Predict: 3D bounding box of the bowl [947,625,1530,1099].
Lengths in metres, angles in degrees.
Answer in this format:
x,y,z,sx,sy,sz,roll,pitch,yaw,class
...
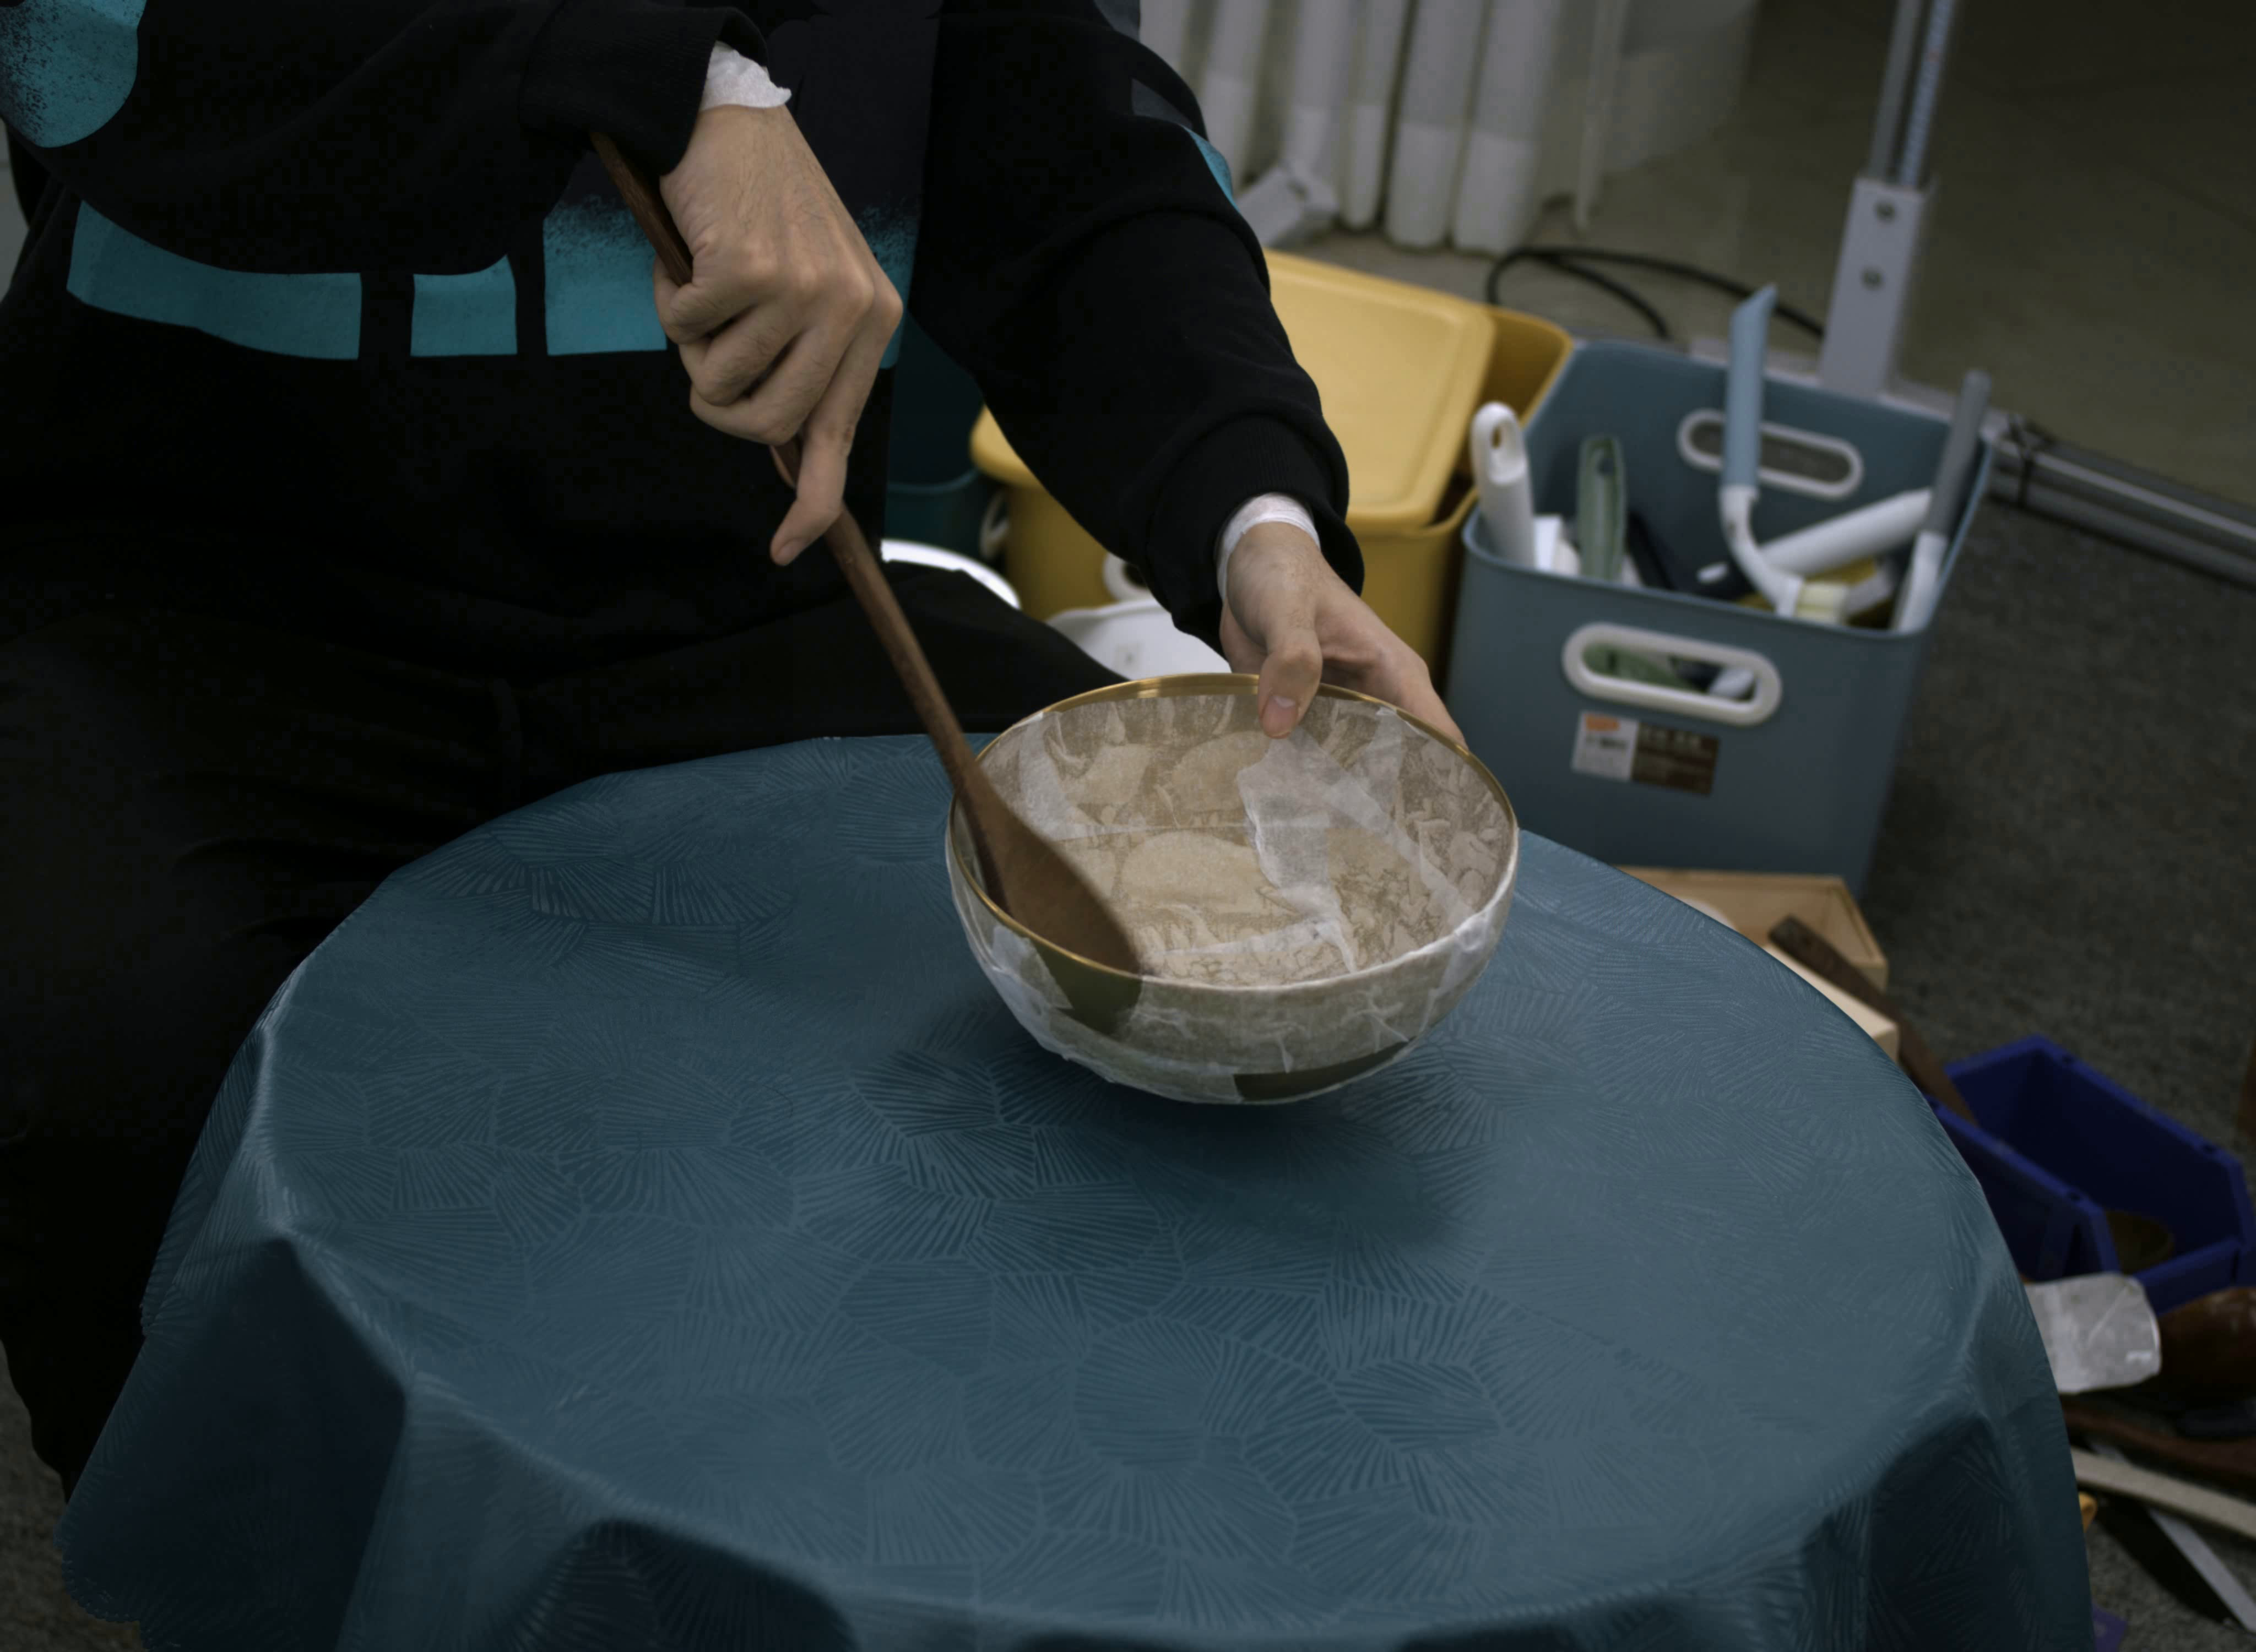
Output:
x,y,z,sx,sy,sz,roll,pitch,yaw,class
0.037,0.026,1.874,0.214,0.094,0.216,2,40,-2,bowl

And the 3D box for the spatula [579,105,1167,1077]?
x,y,z,sx,sy,sz,roll,pitch,yaw,class
-0.088,-0.082,1.848,0.016,0.385,0.096,-26,9,20,spatula
